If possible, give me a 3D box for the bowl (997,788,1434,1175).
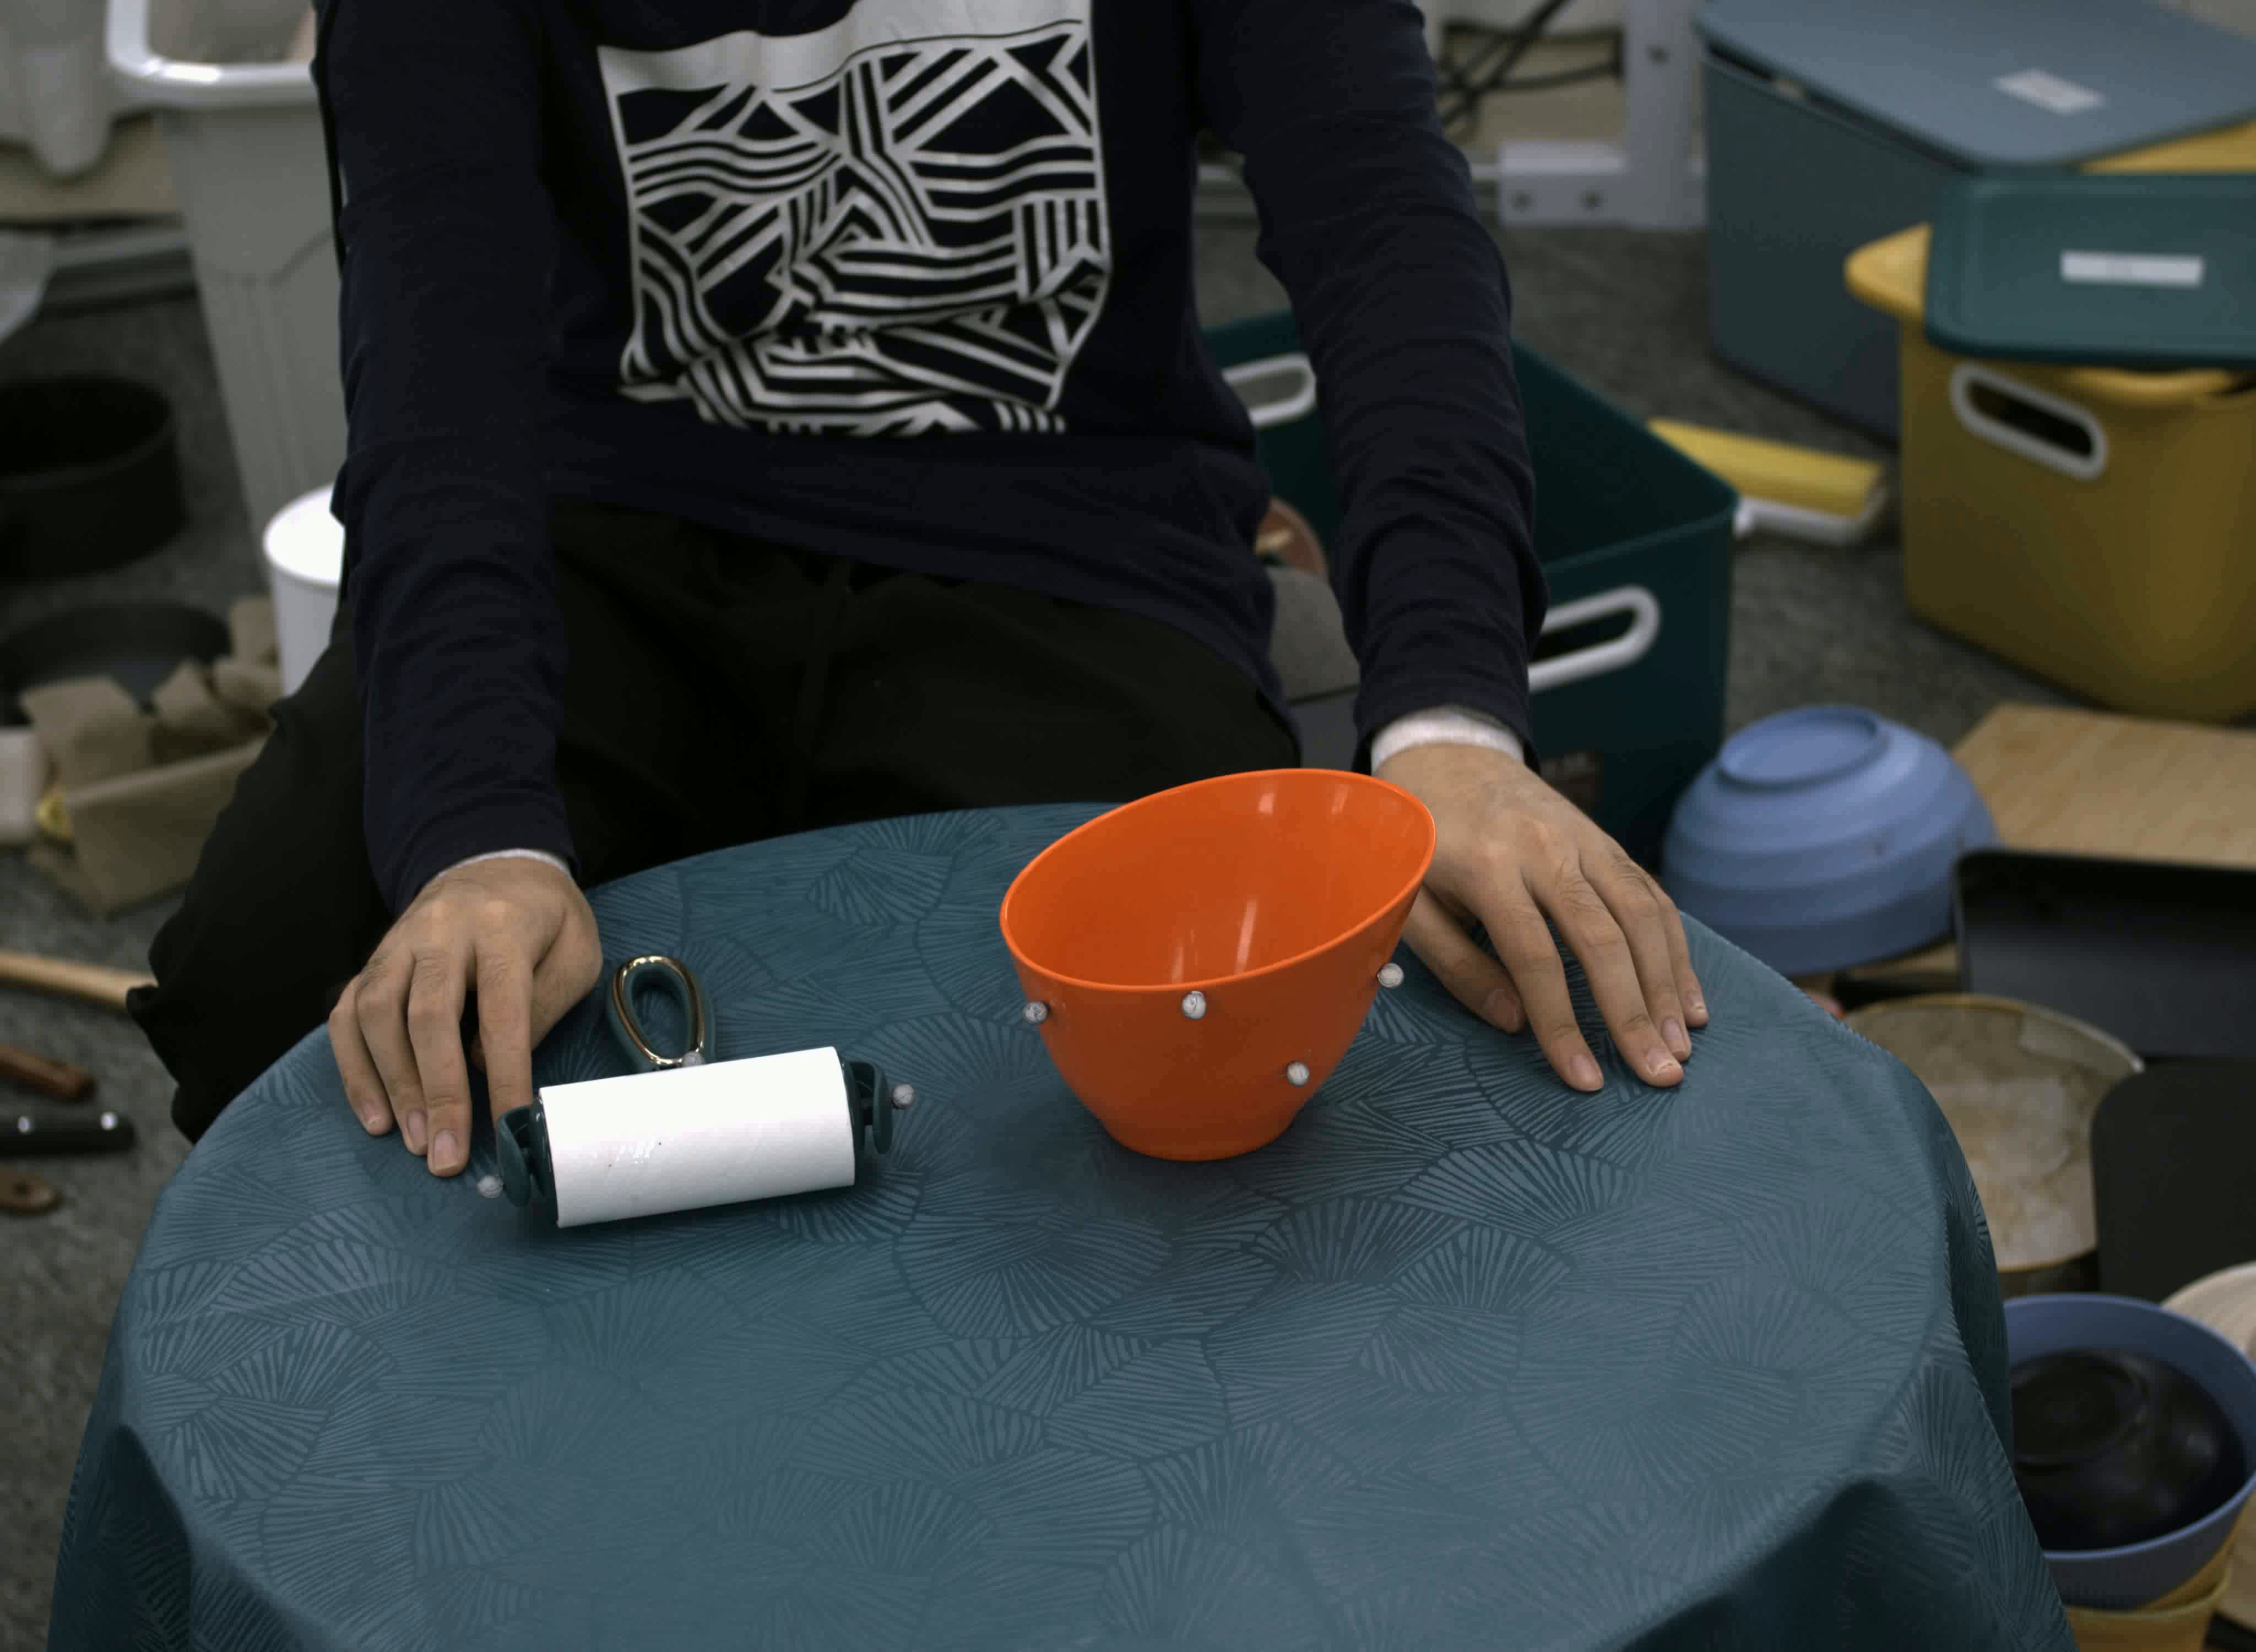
[{"bbox_3d":[0.031,0.057,1.885,0.147,0.103,0.150,-2,25,1],"label":"bowl"}]

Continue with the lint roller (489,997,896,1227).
[{"bbox_3d":[-0.157,0.078,1.921,0.134,0.048,0.182,-8,23,-9],"label":"lint roller"}]
